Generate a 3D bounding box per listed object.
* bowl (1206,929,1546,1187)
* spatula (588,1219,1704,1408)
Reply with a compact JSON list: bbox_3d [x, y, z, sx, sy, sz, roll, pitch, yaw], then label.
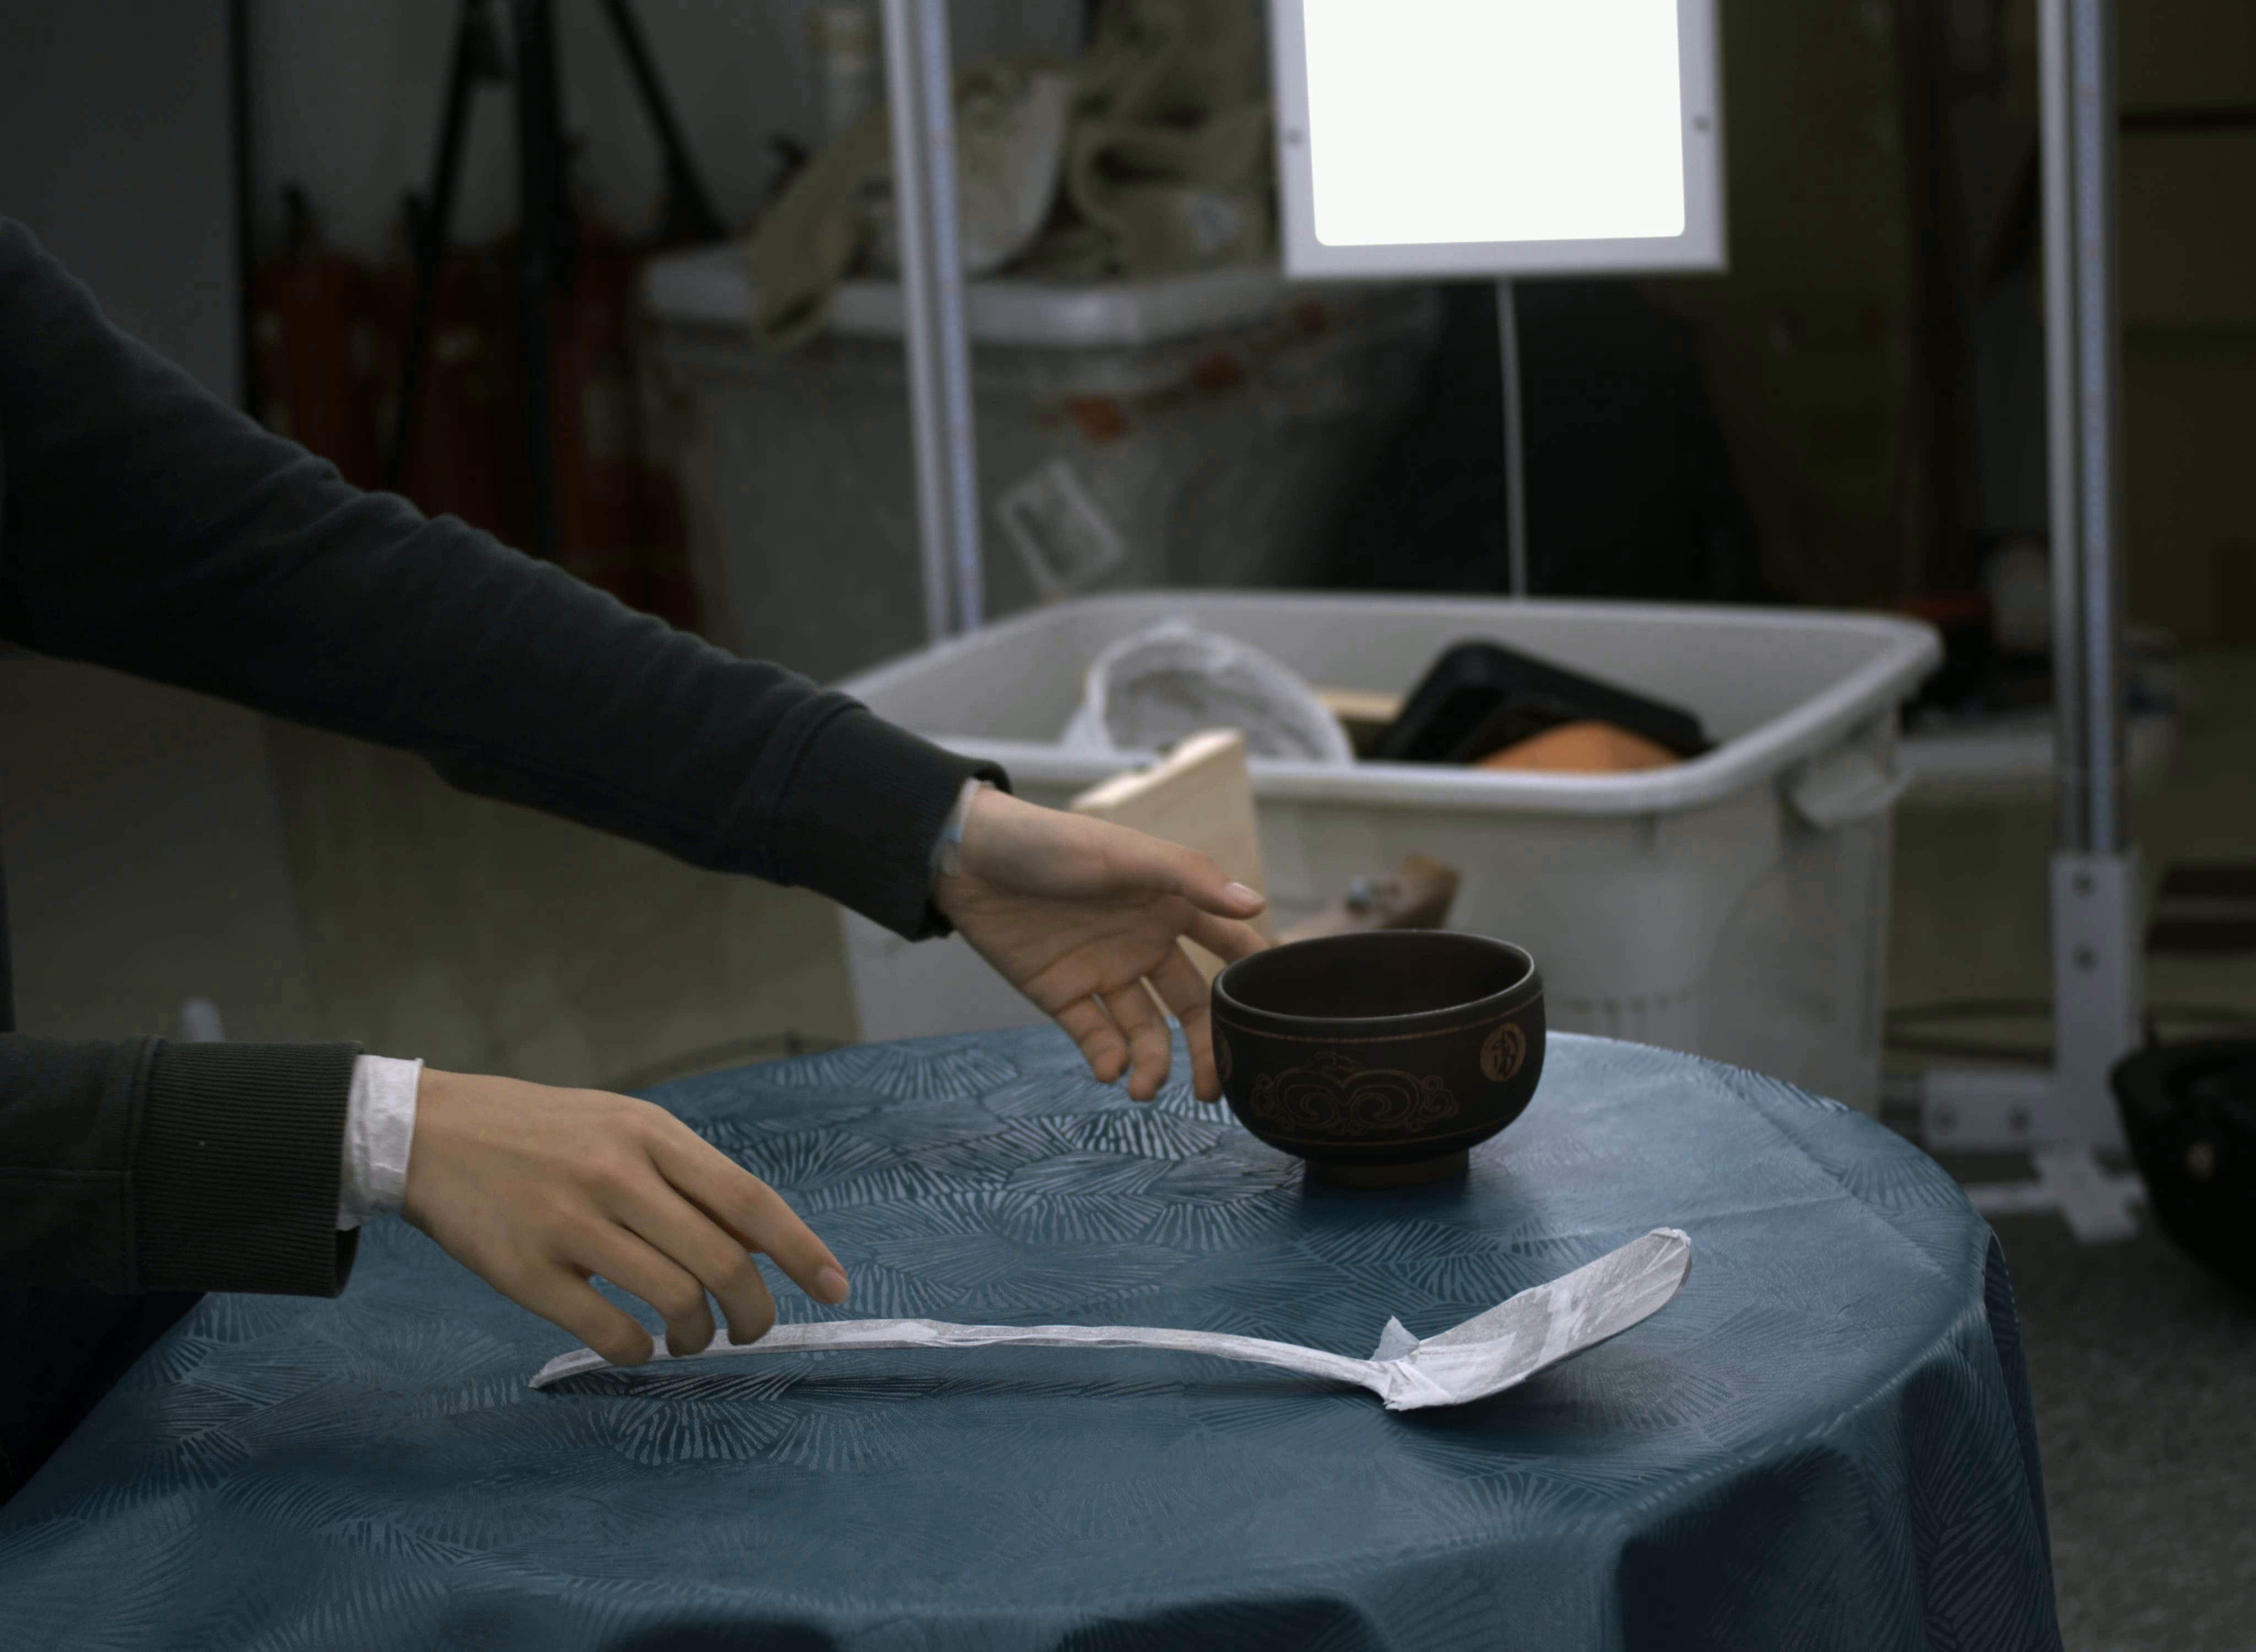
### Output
[{"bbox_3d":[0.087,0.083,1.895,0.118,0.070,0.118,-7,12,0],"label":"bowl"},{"bbox_3d":[-0.002,0.154,1.707,0.369,0.045,0.097,0,16,17],"label":"spatula"}]
